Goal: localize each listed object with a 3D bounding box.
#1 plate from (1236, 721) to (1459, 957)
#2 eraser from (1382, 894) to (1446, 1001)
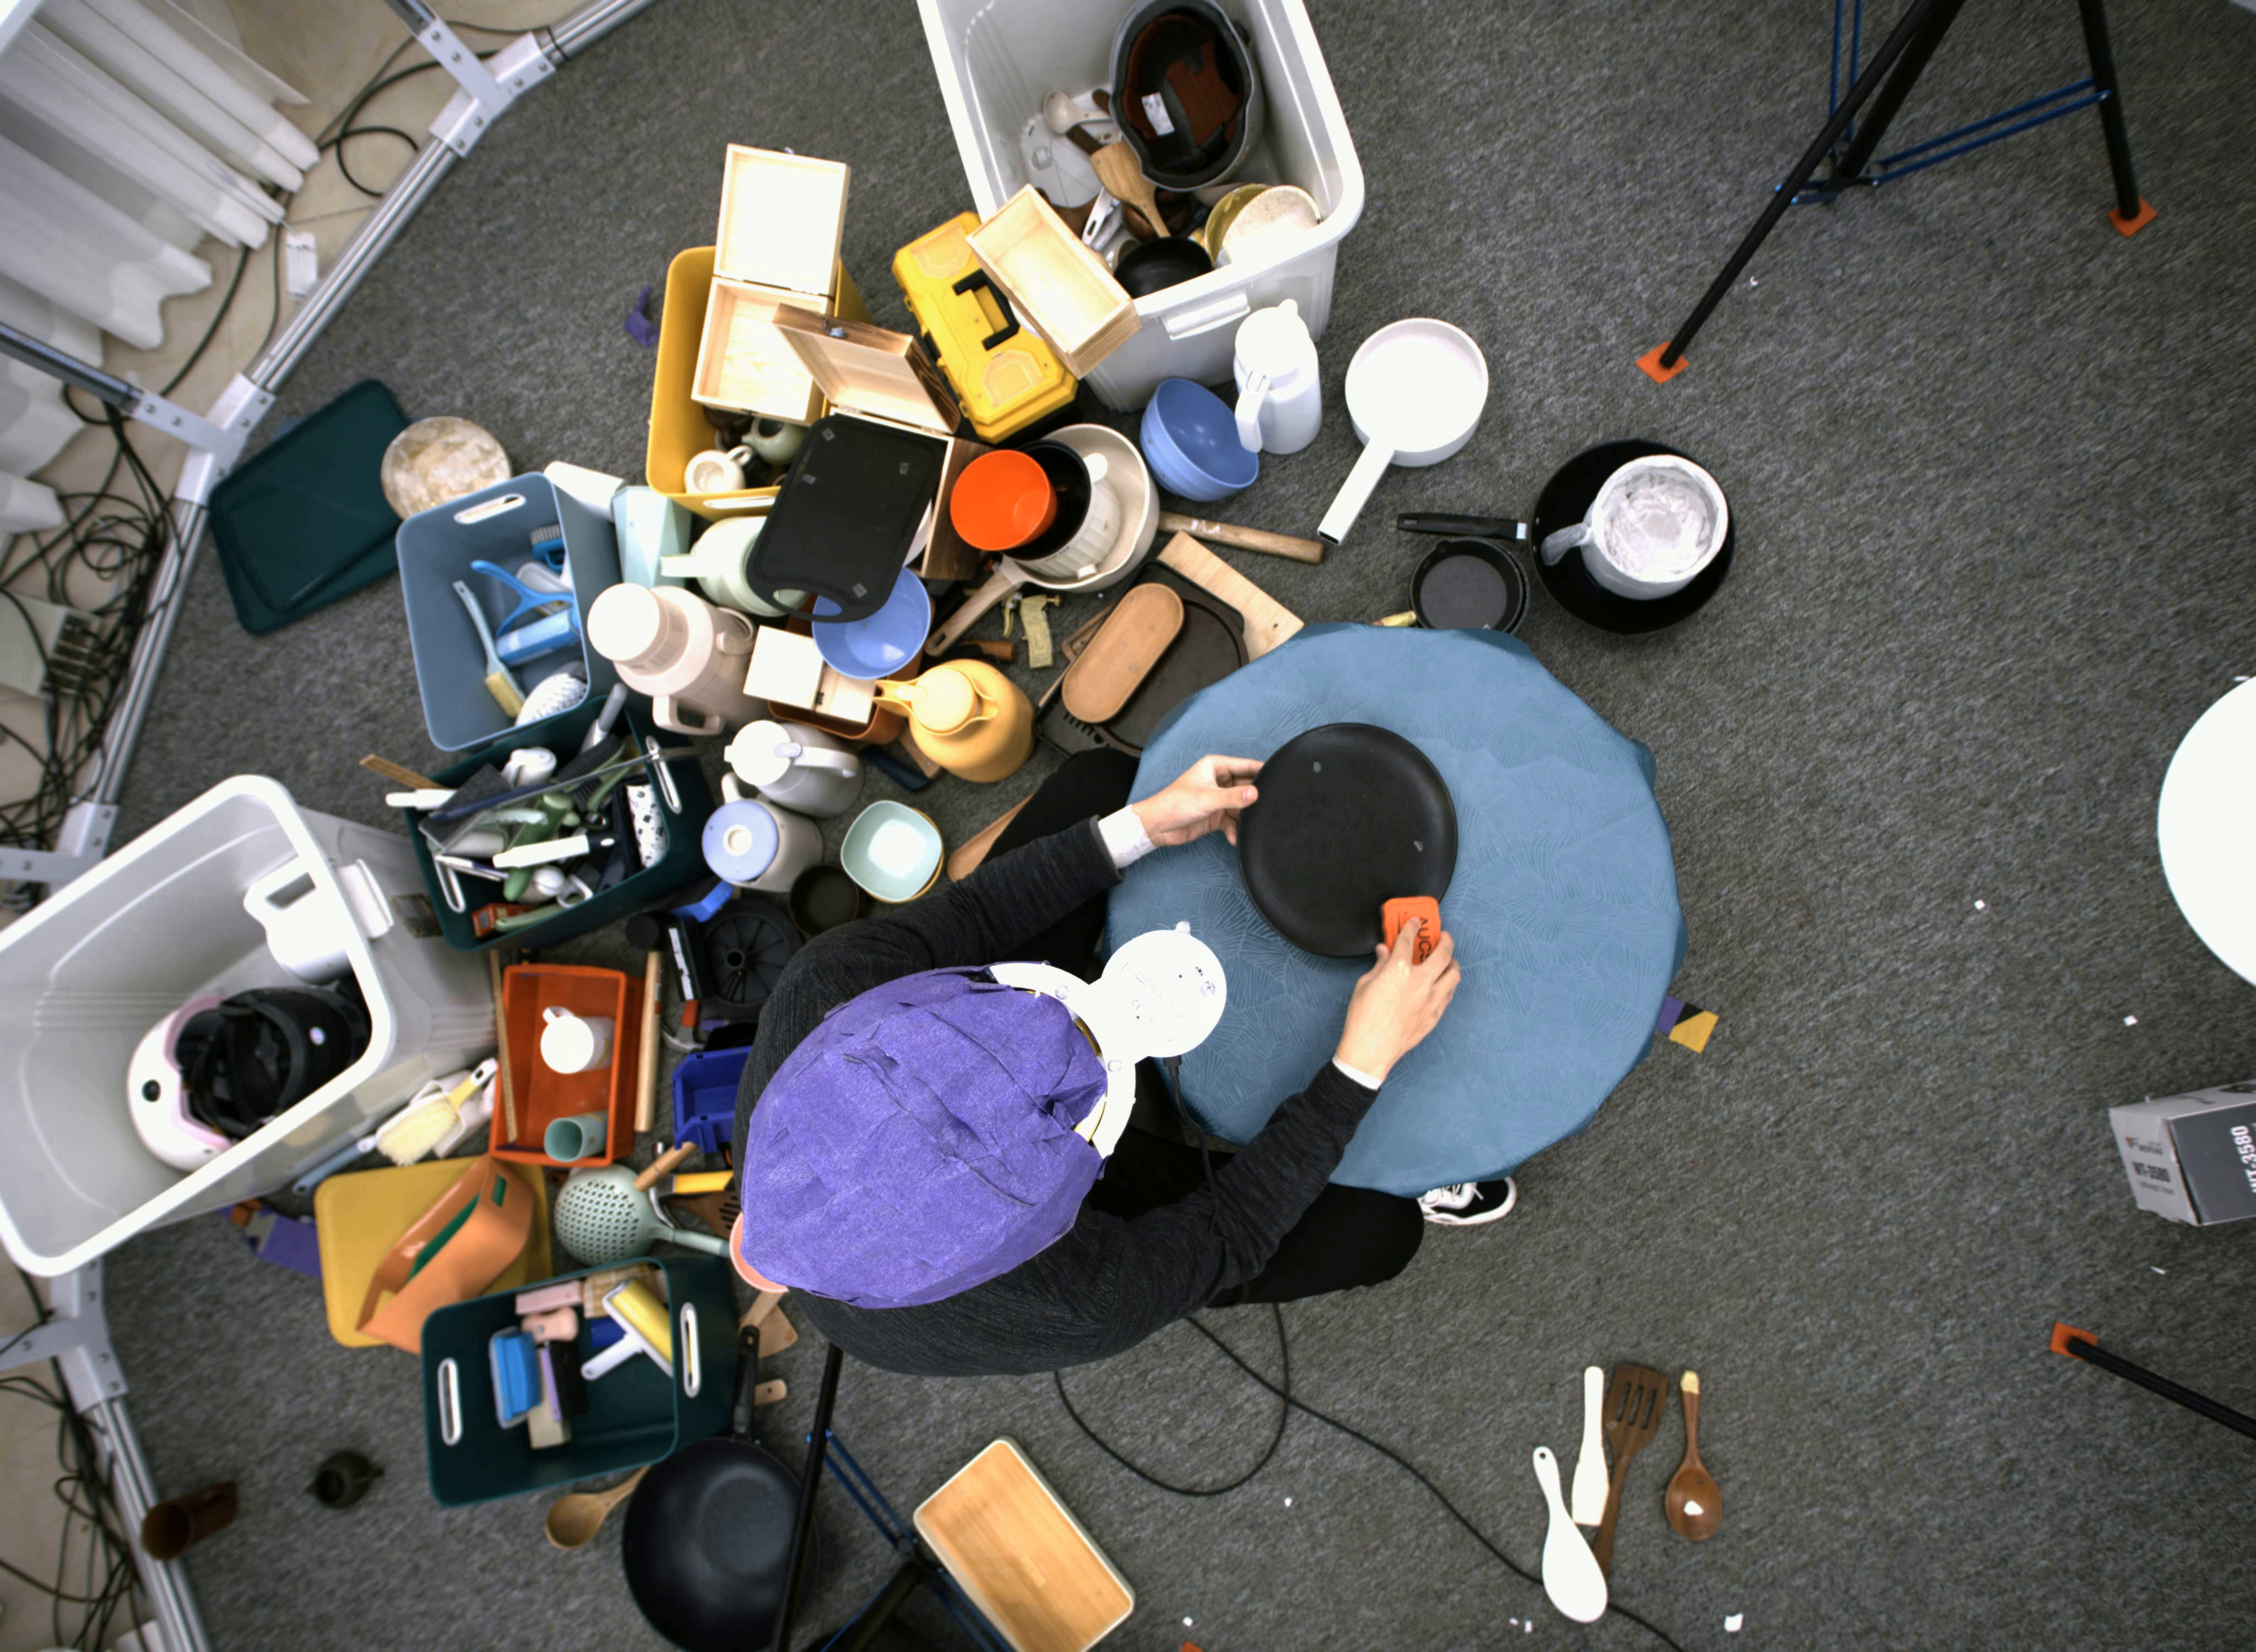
[{"bbox_3d":[0.225,0.012,1.425,0.244,0.023,0.245,-1,96,-11],"label":"plate"},{"bbox_3d":[0.296,0.124,1.425,0.059,0.023,0.107,-3,82,1],"label":"eraser"}]
